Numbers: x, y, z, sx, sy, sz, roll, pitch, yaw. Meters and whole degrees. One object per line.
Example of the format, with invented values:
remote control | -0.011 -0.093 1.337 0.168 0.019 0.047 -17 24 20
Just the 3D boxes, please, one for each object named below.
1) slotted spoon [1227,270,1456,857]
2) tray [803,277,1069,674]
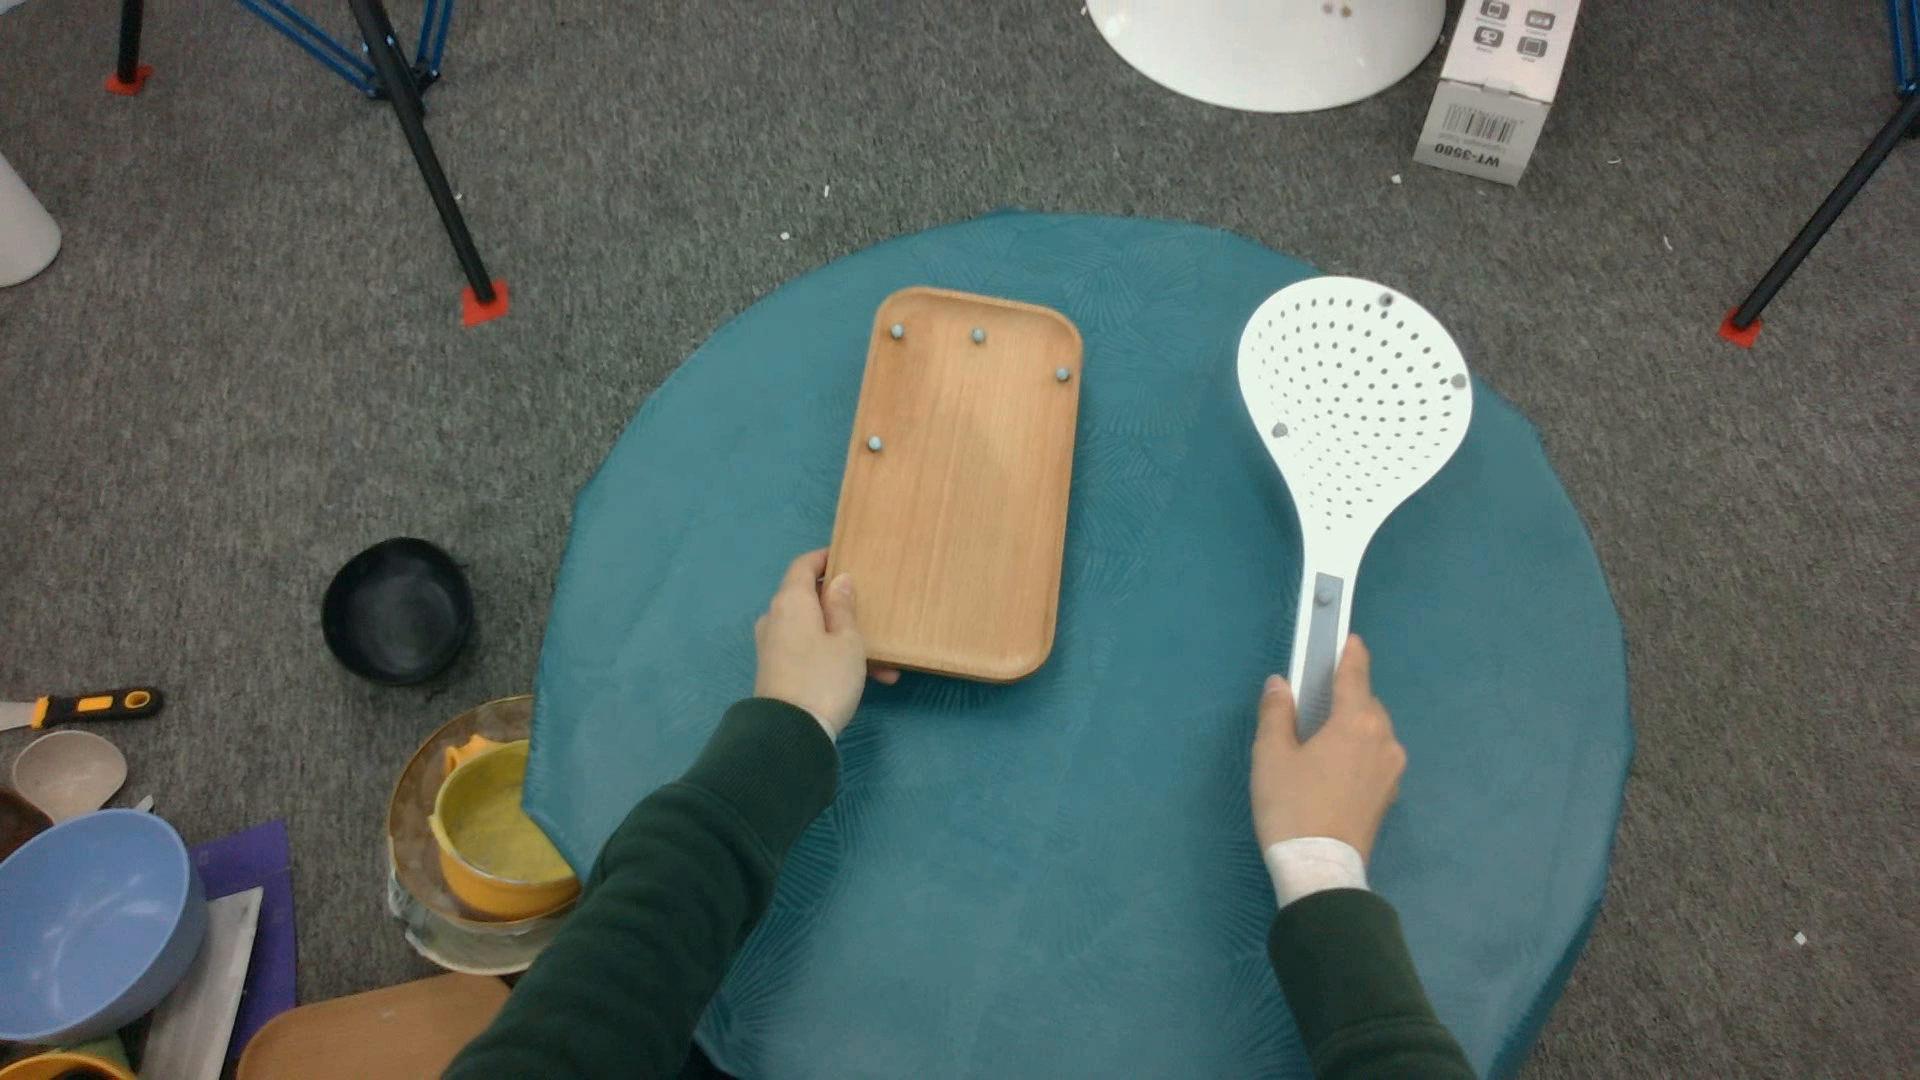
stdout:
slotted spoon | 0.195 0.000 0.748 0.136 0.045 0.351 14 60 -1
tray | -0.009 -0.043 0.780 0.130 0.023 0.252 9 61 -1
